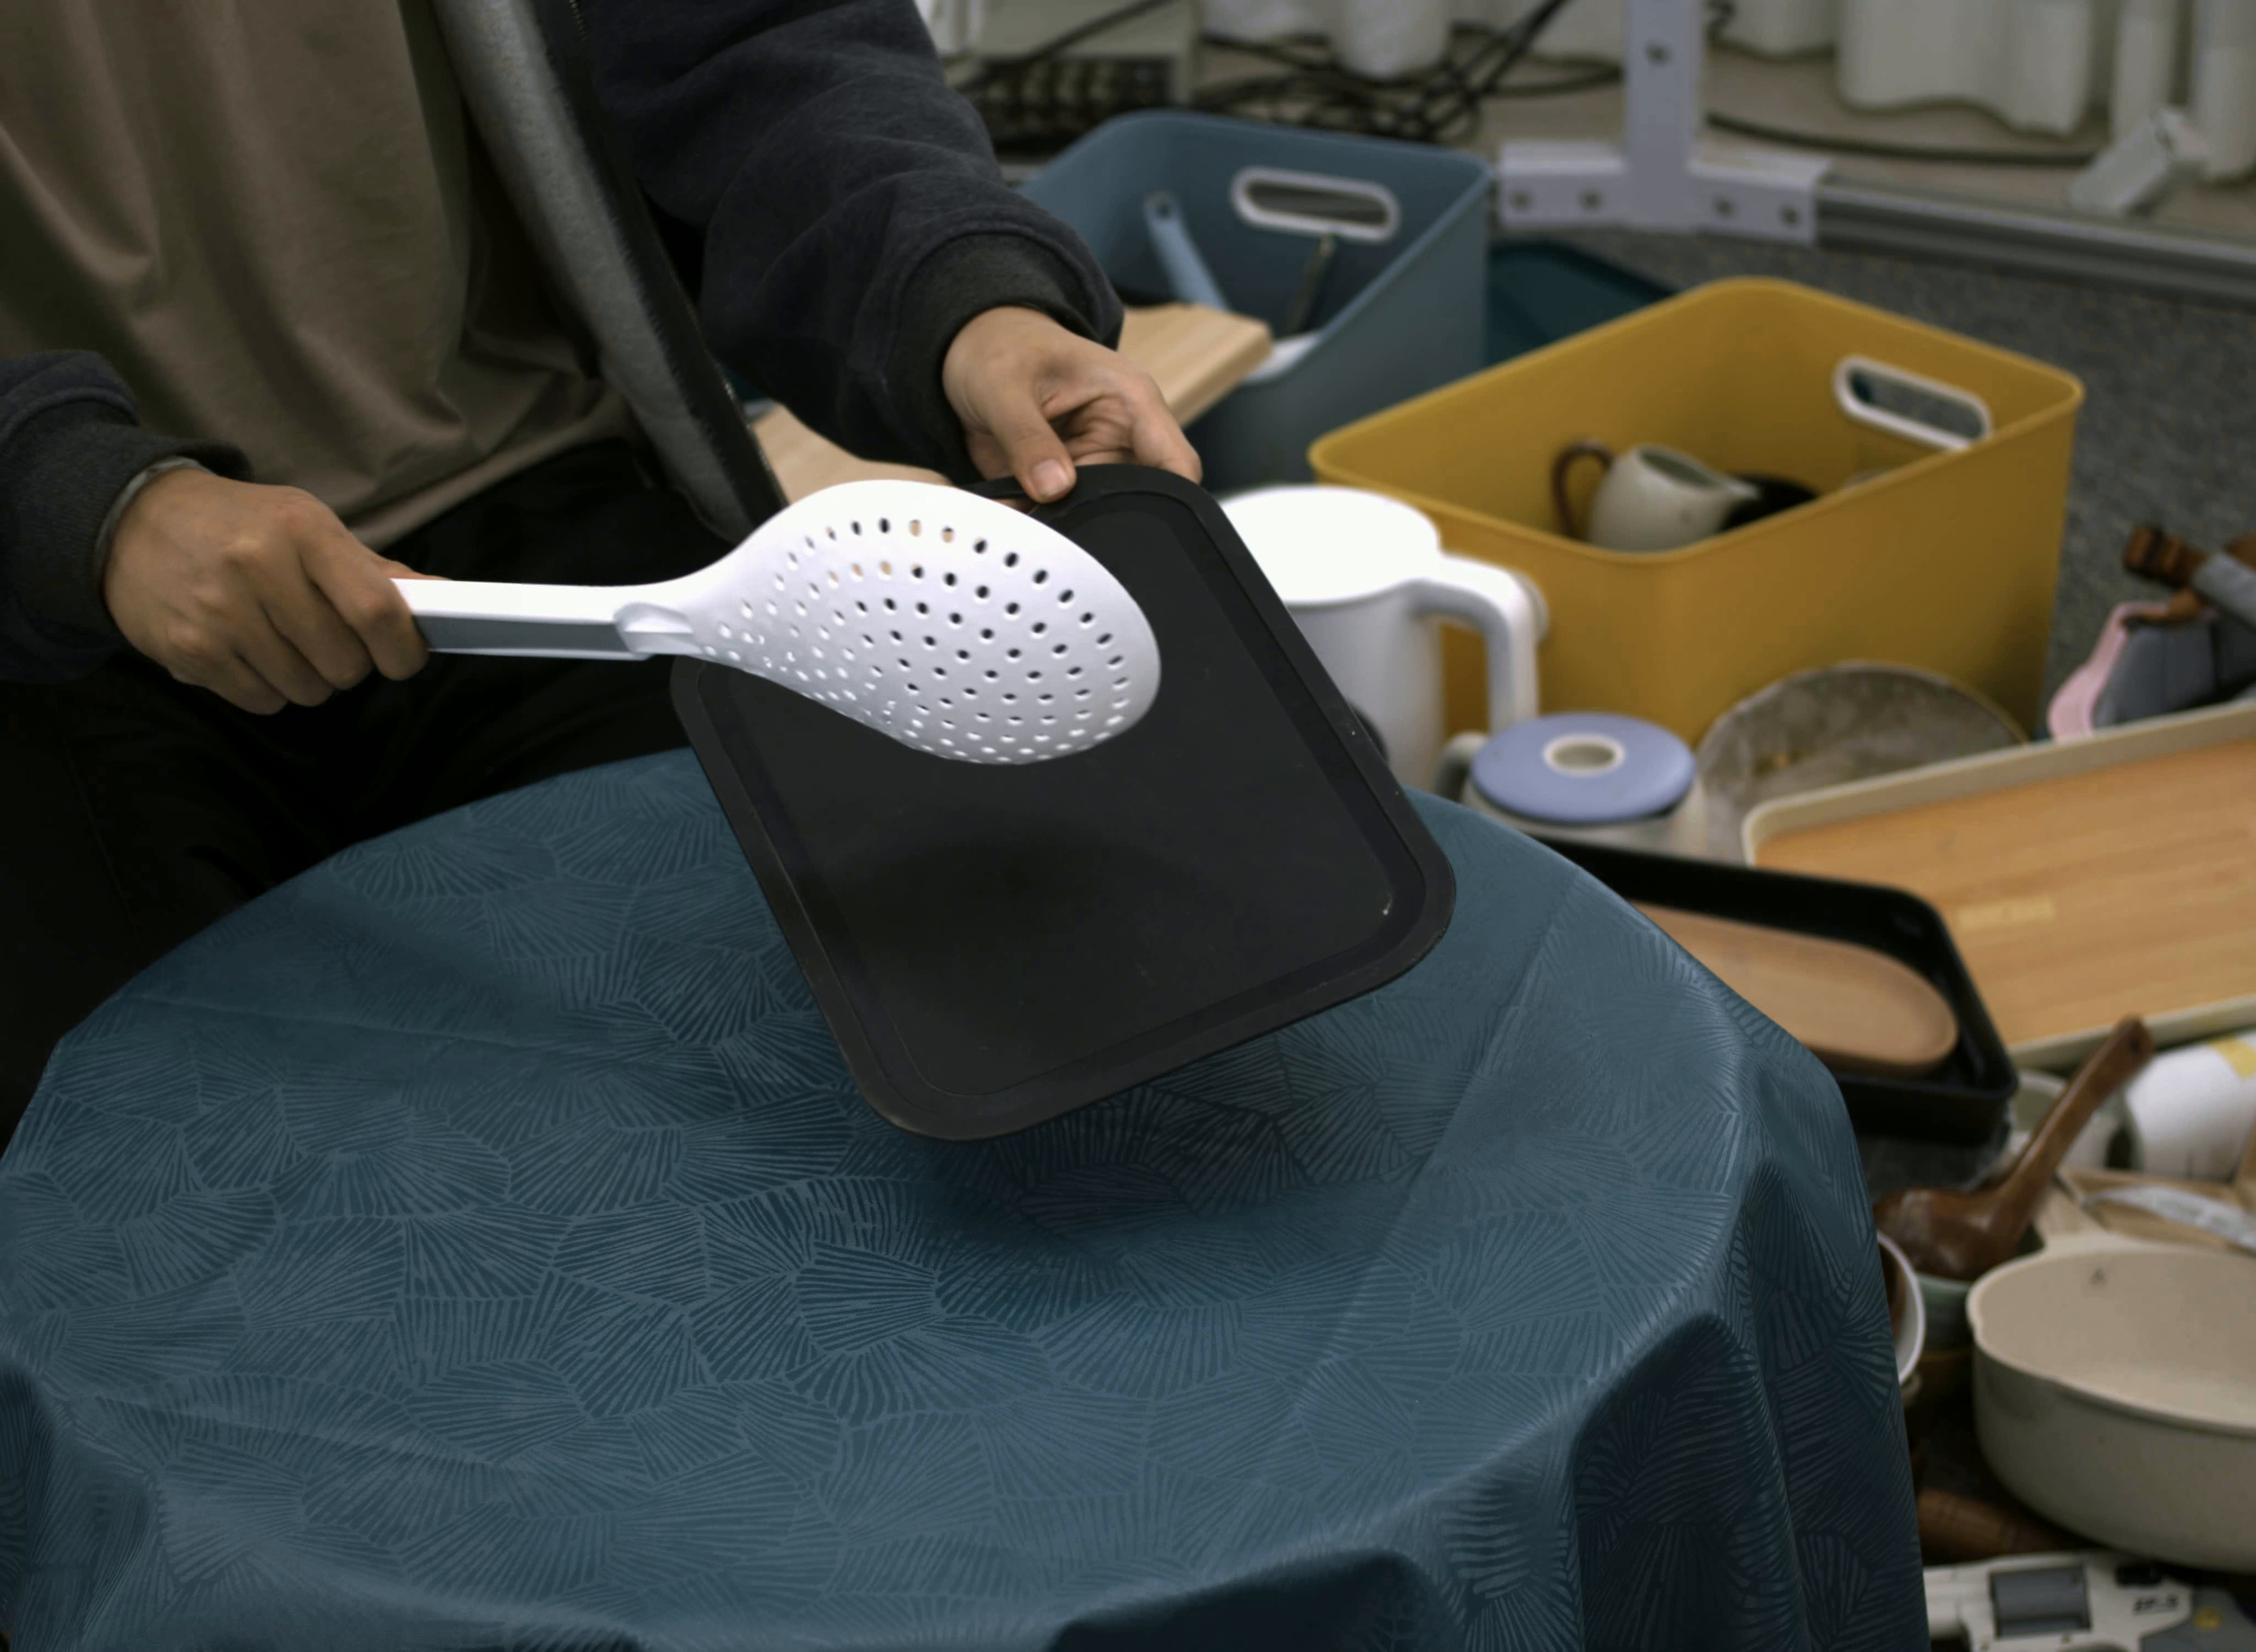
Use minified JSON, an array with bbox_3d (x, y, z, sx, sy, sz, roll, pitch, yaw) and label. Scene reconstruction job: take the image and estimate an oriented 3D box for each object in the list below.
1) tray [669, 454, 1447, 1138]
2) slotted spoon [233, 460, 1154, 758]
[{"bbox_3d":[-0.033,-0.022,1.930,0.211,0.009,0.329,-21,42,-8],"label":"tray"},{"bbox_3d":[-0.154,-0.071,1.890,0.347,0.134,0.046,7,52,29],"label":"slotted spoon"}]
